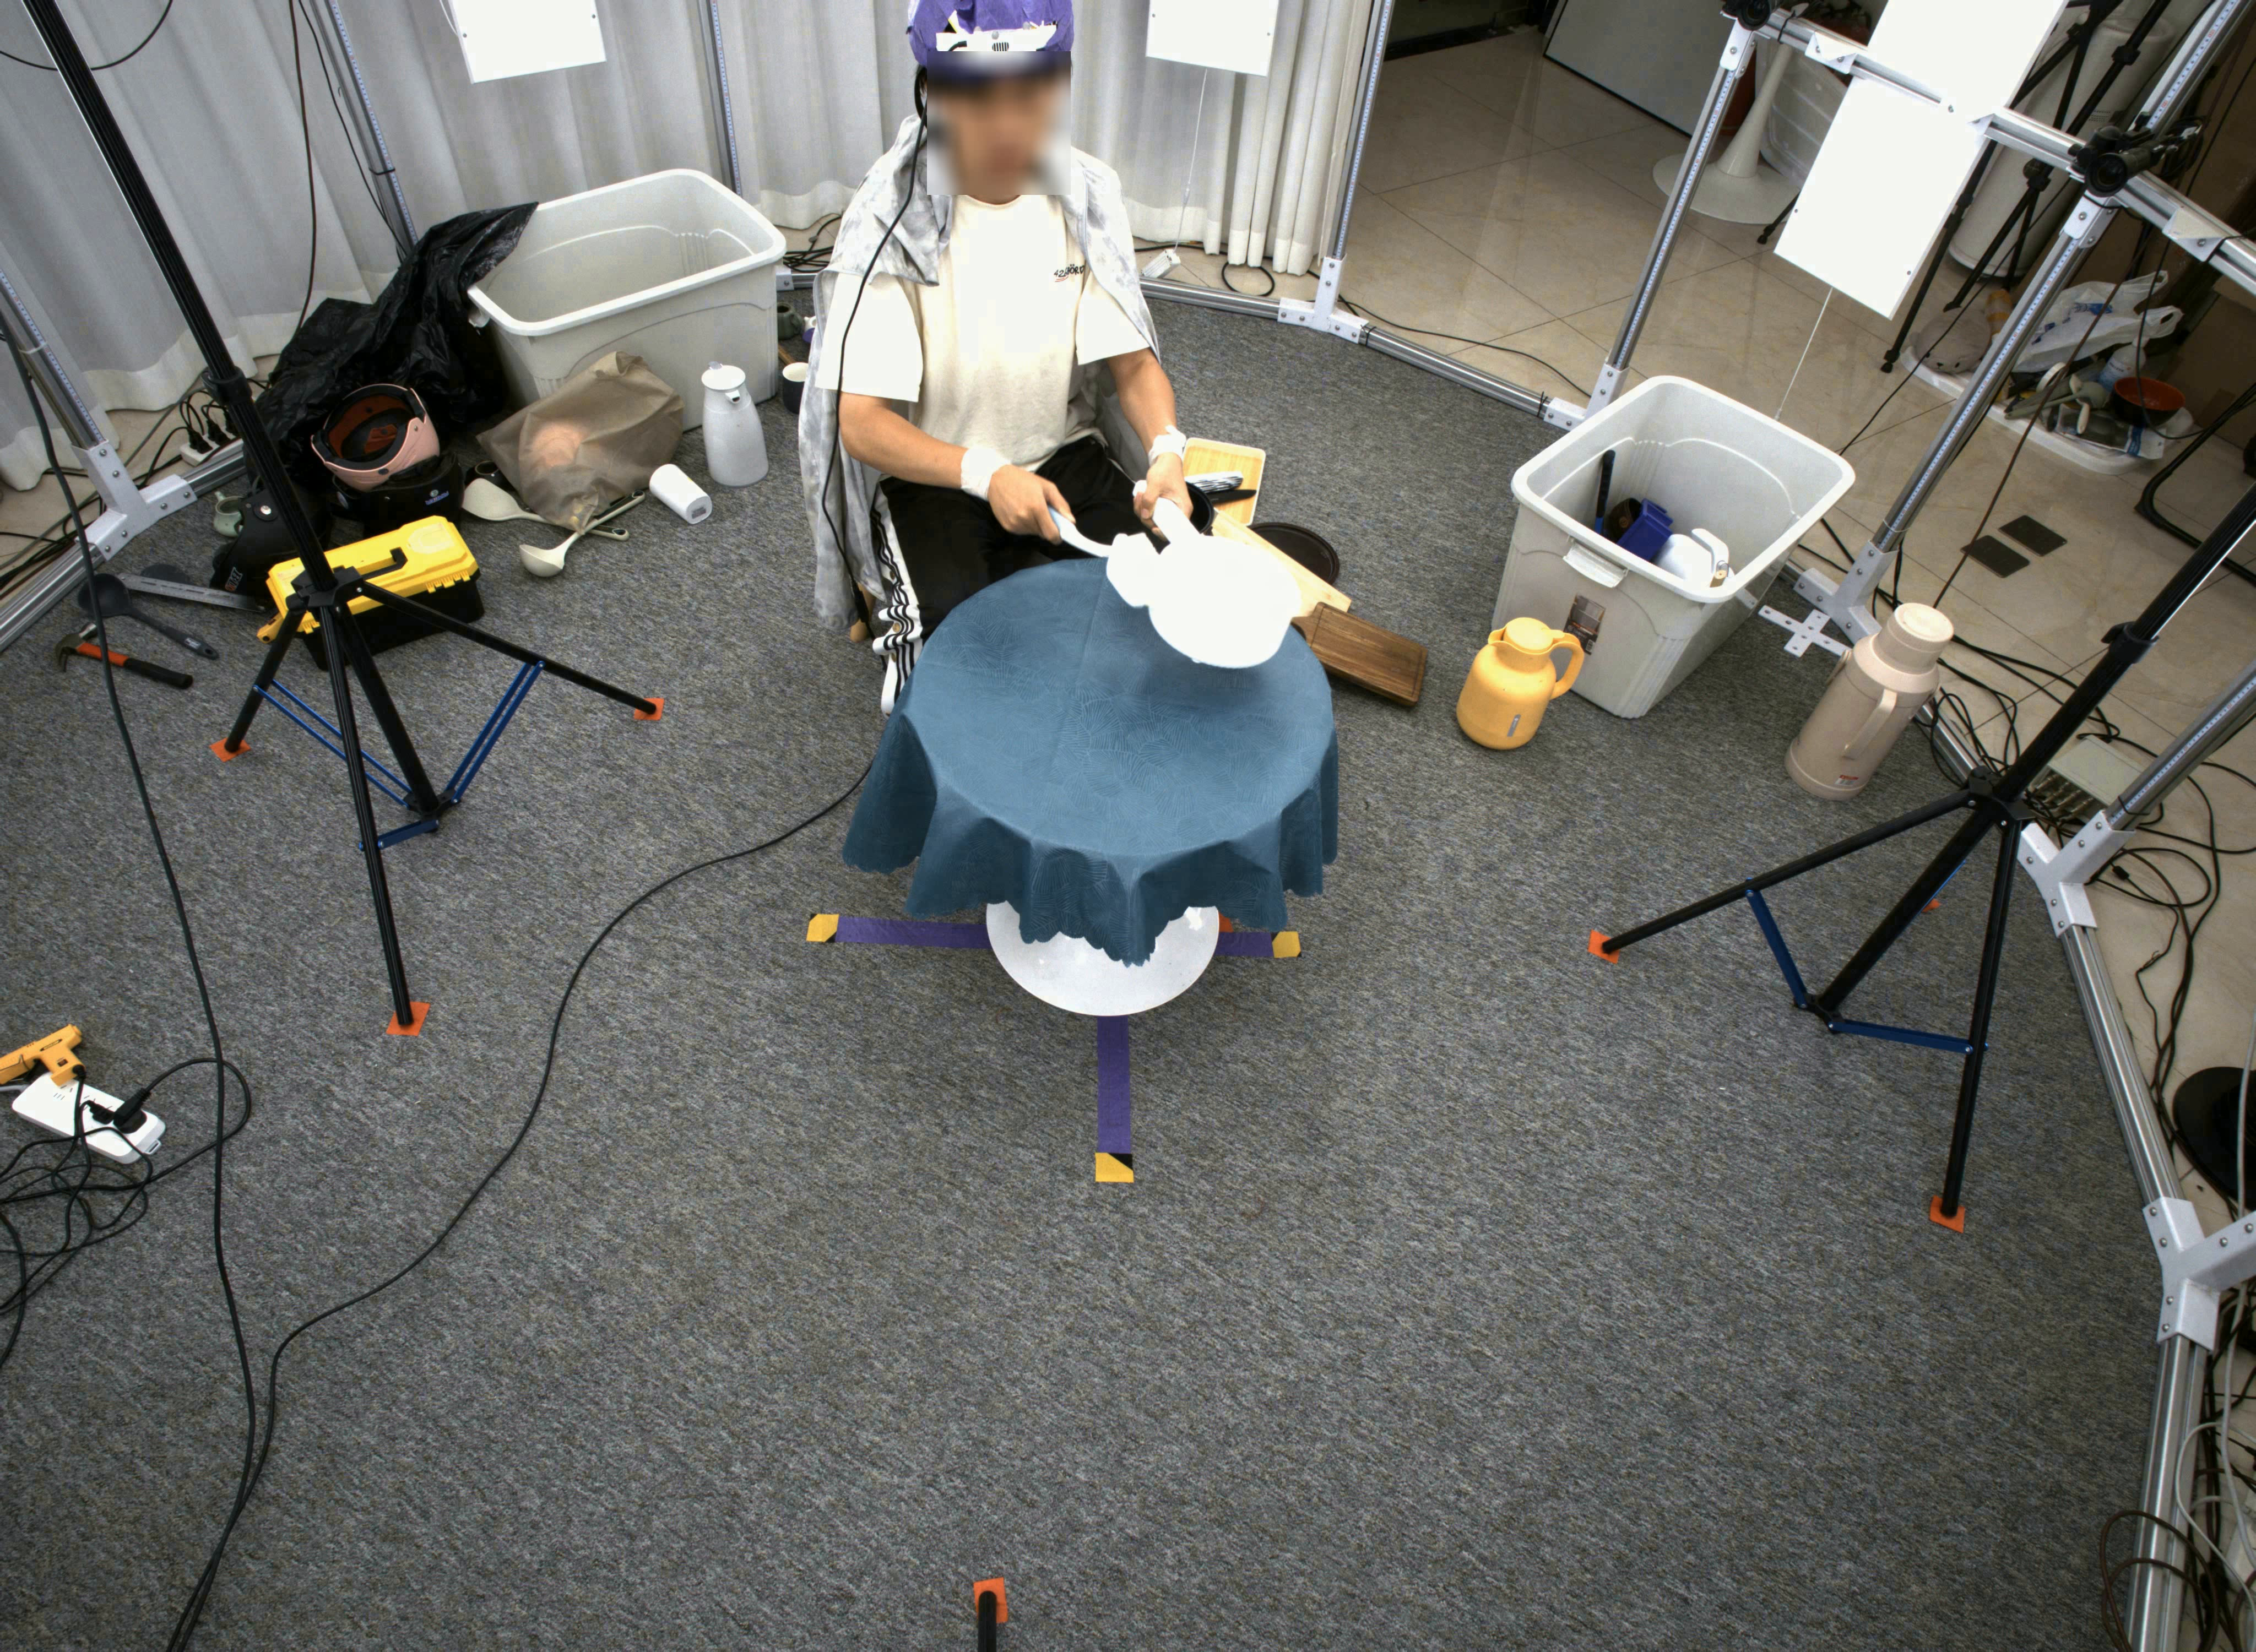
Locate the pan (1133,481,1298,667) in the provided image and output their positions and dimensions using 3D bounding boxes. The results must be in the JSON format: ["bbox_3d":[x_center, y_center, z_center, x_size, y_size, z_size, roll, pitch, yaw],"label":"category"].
[{"bbox_3d":[0.092,-0.358,1.828,0.201,0.100,0.363,-8,46,-28],"label":"pan"}]

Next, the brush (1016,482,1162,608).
[{"bbox_3d":[-0.042,-0.404,1.803,0.083,0.083,0.332,-46,53,6],"label":"brush"}]
